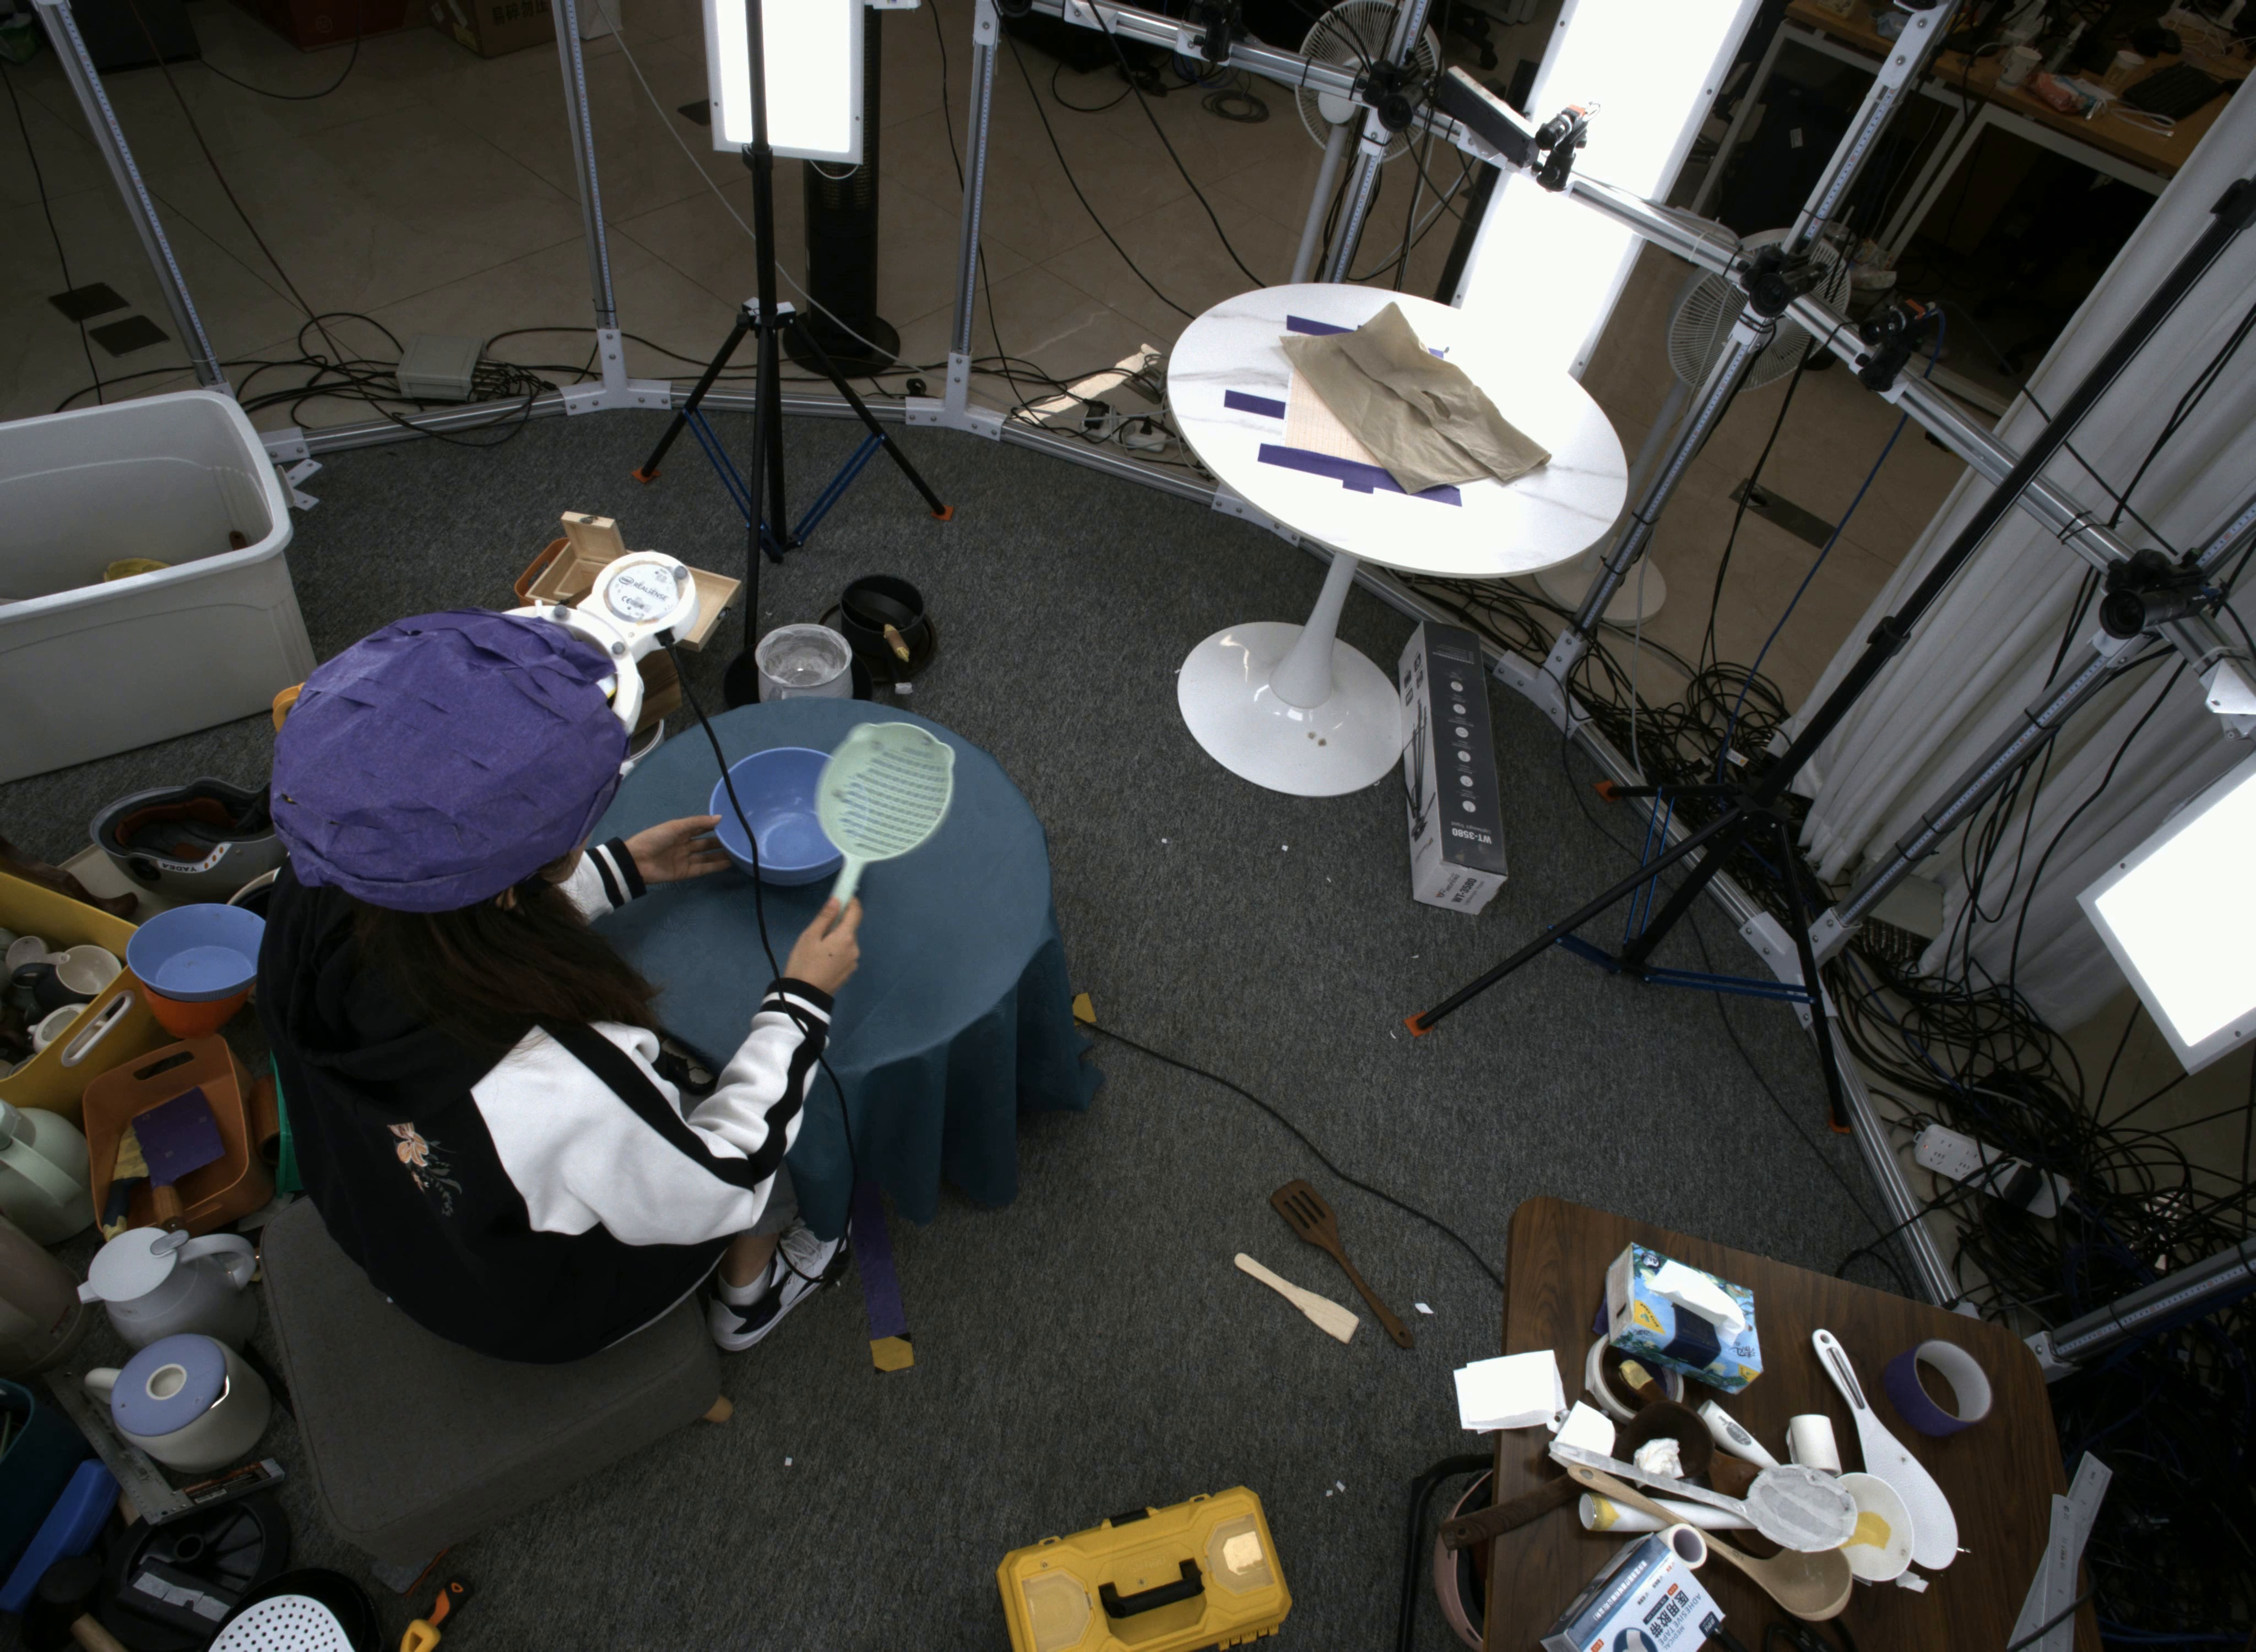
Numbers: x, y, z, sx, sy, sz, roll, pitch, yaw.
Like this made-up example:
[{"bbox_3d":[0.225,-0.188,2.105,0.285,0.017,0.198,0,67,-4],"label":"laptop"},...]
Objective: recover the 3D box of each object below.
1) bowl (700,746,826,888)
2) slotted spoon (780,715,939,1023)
[{"bbox_3d":[-0.441,0.003,1.651,0.196,0.097,0.193,8,52,-9],"label":"bowl"},{"bbox_3d":[-0.329,0.046,1.485,0.165,0.077,0.358,16,70,14],"label":"slotted spoon"}]
